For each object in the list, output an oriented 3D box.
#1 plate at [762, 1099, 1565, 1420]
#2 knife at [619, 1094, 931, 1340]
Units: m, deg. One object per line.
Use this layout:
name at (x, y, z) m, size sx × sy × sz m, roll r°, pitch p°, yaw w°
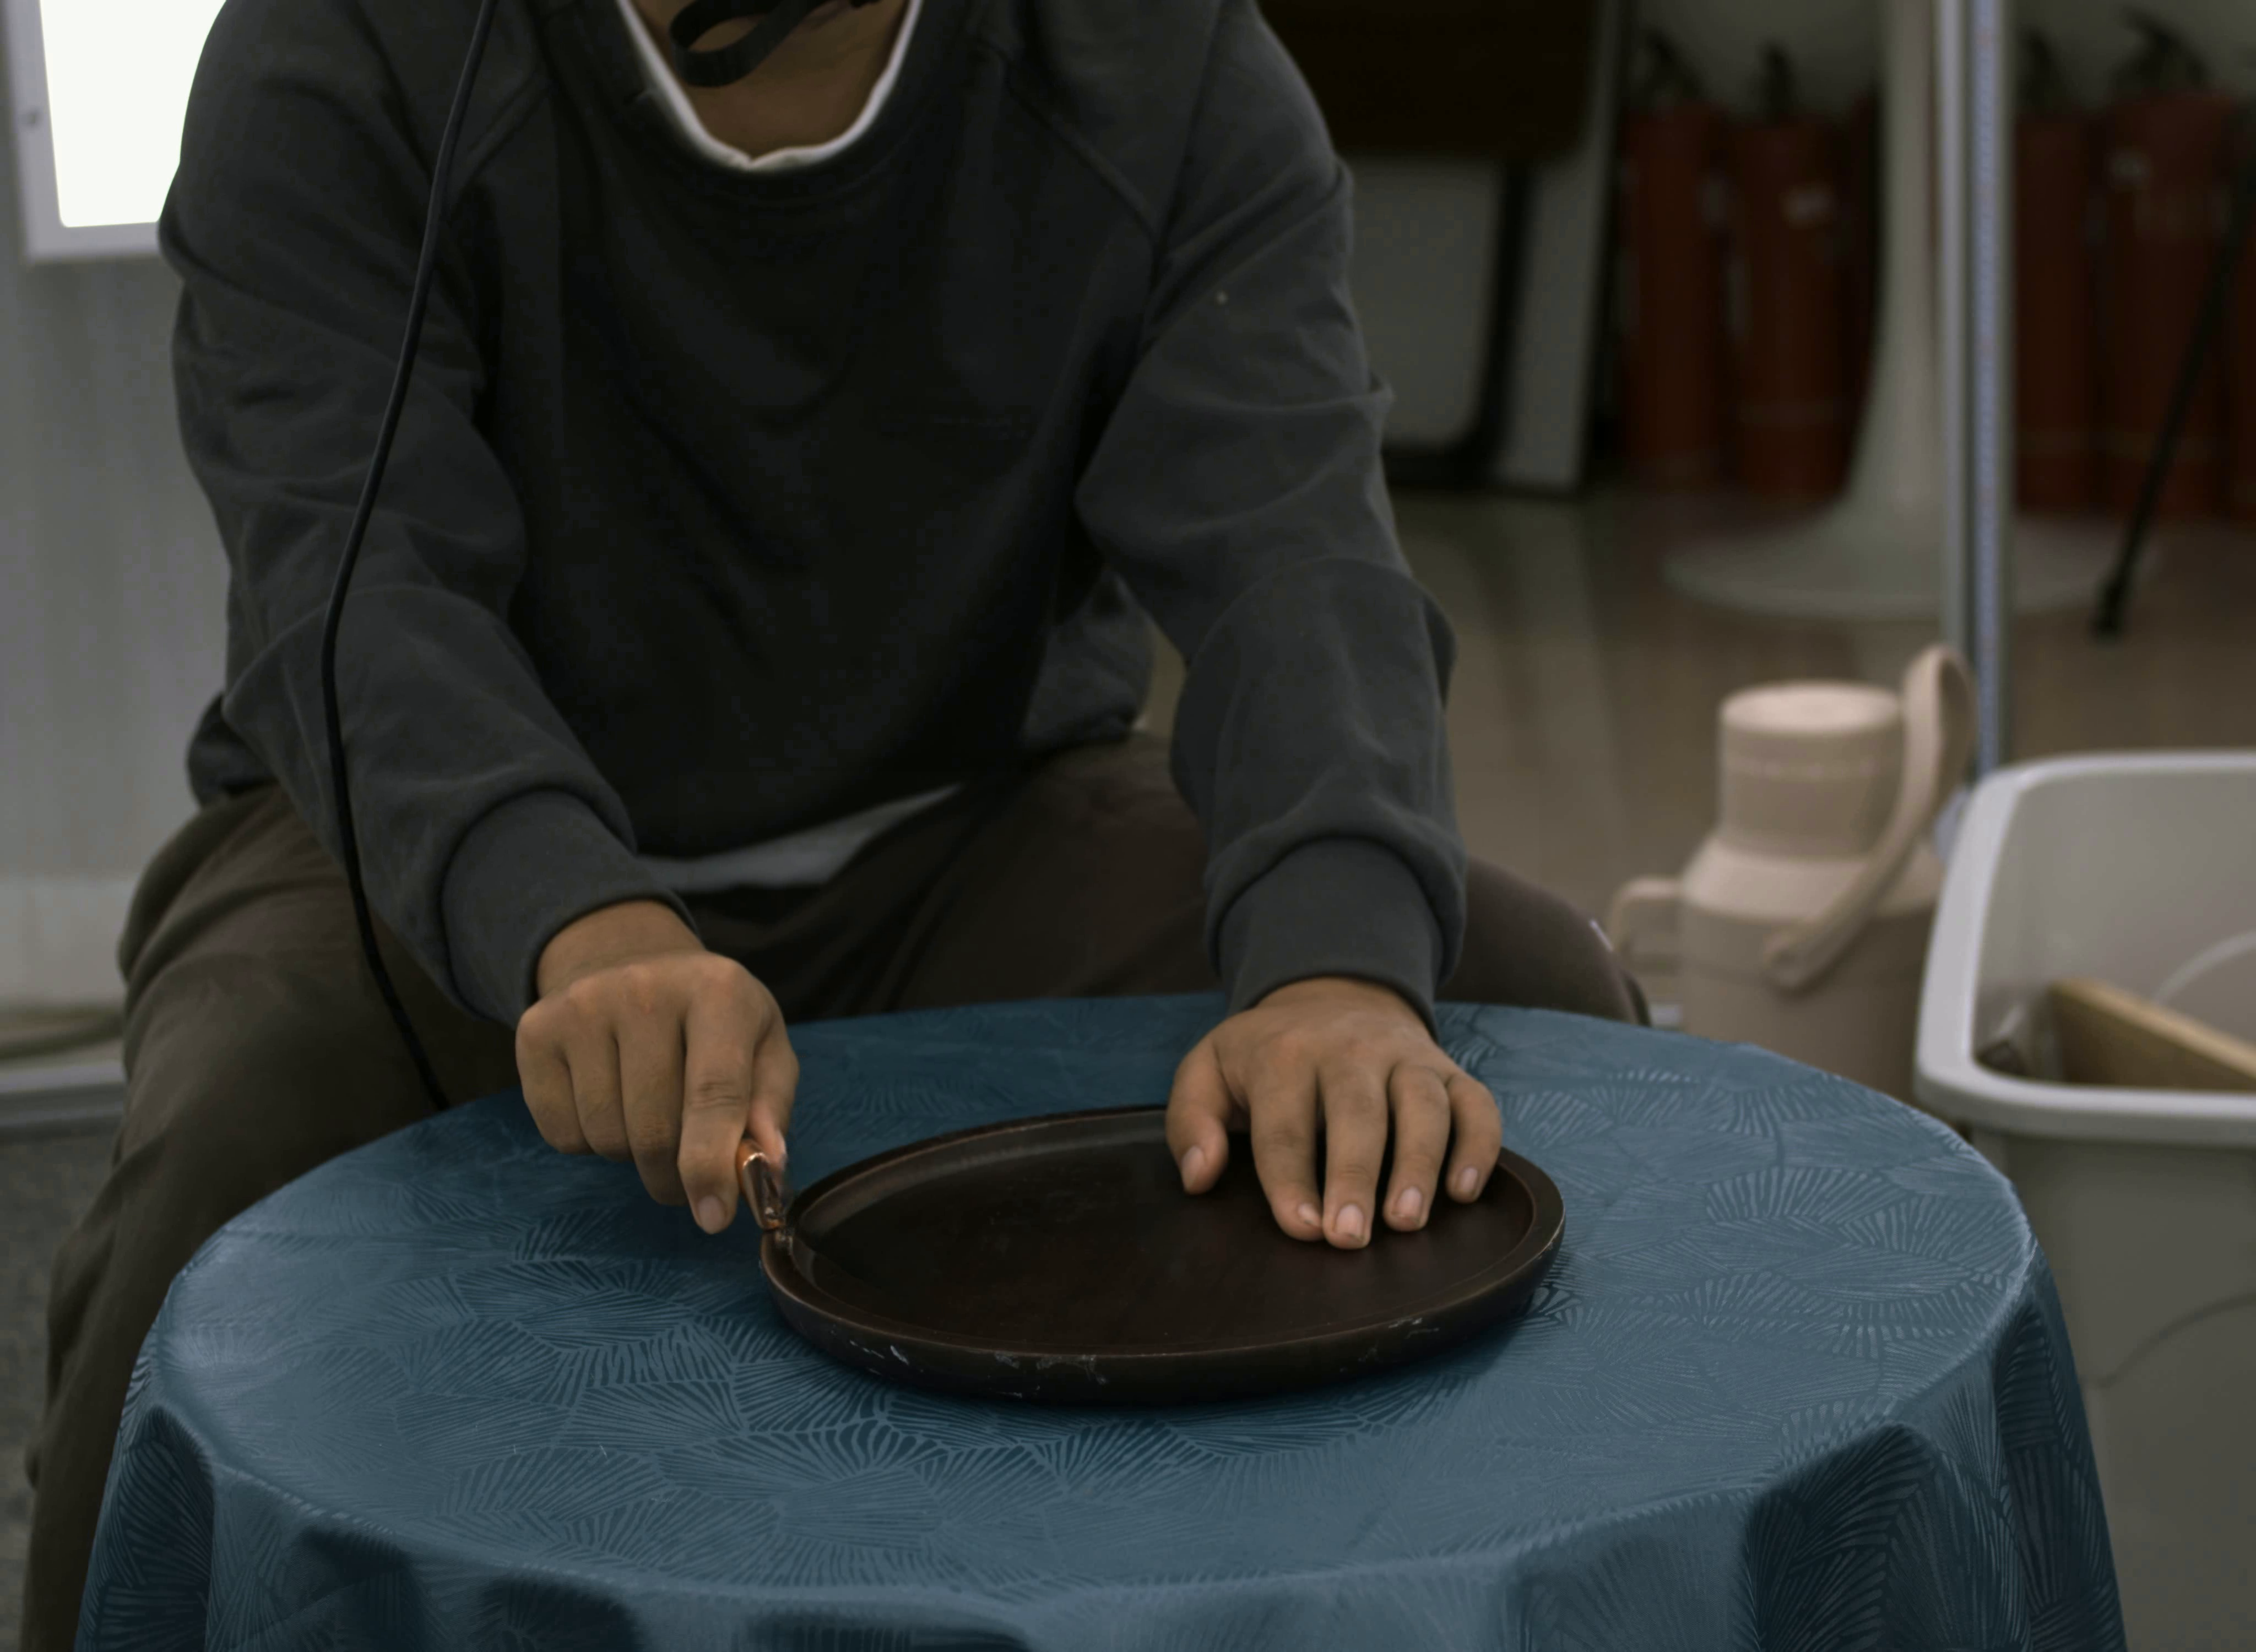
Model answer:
plate at (0.012, 0.133, 1.678) m, size 0.251 × 0.029 × 0.255 m, roll -6°, pitch 13°, yaw 0°
knife at (-0.111, 0.119, 1.682) m, size 0.017 × 0.026 × 0.228 m, roll -20°, pitch 20°, yaw -22°
